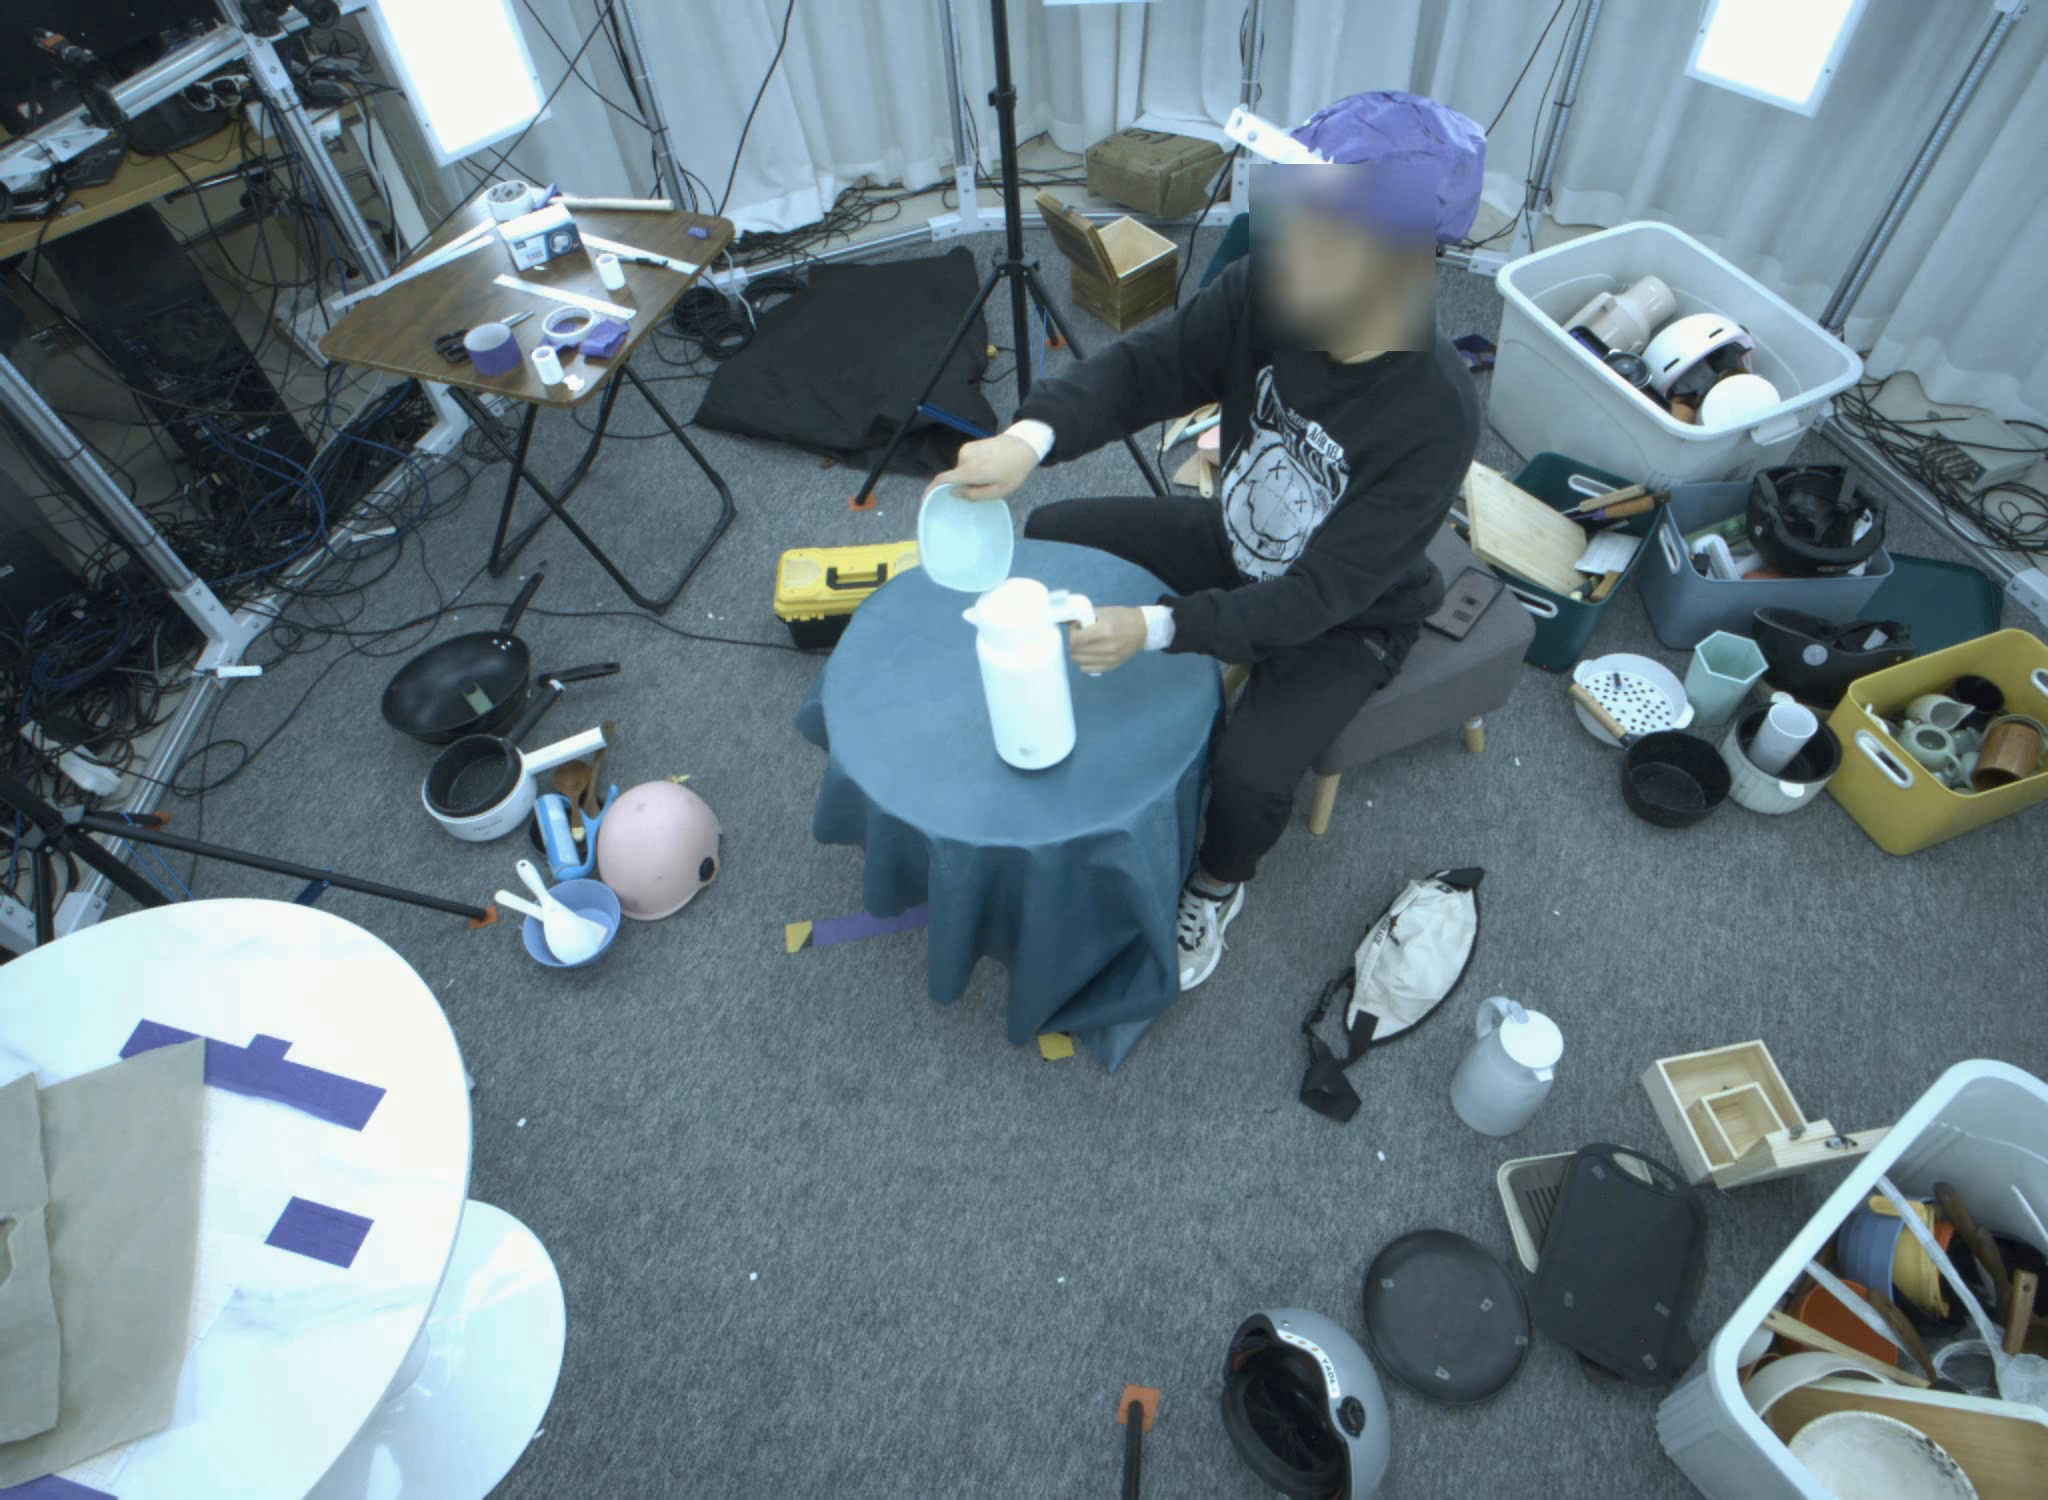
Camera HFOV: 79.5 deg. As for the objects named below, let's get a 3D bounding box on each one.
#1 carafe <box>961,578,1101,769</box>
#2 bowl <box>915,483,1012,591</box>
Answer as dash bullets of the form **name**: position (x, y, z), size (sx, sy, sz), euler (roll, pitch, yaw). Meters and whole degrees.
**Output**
- **carafe**: position (0.018, -0.106, 1.687), size (0.173, 0.272, 0.122), euler (-11, 44, -1)
- **bowl**: position (-0.089, -0.273, 1.581), size (0.152, 0.154, 0.057), euler (-47, 27, -26)
